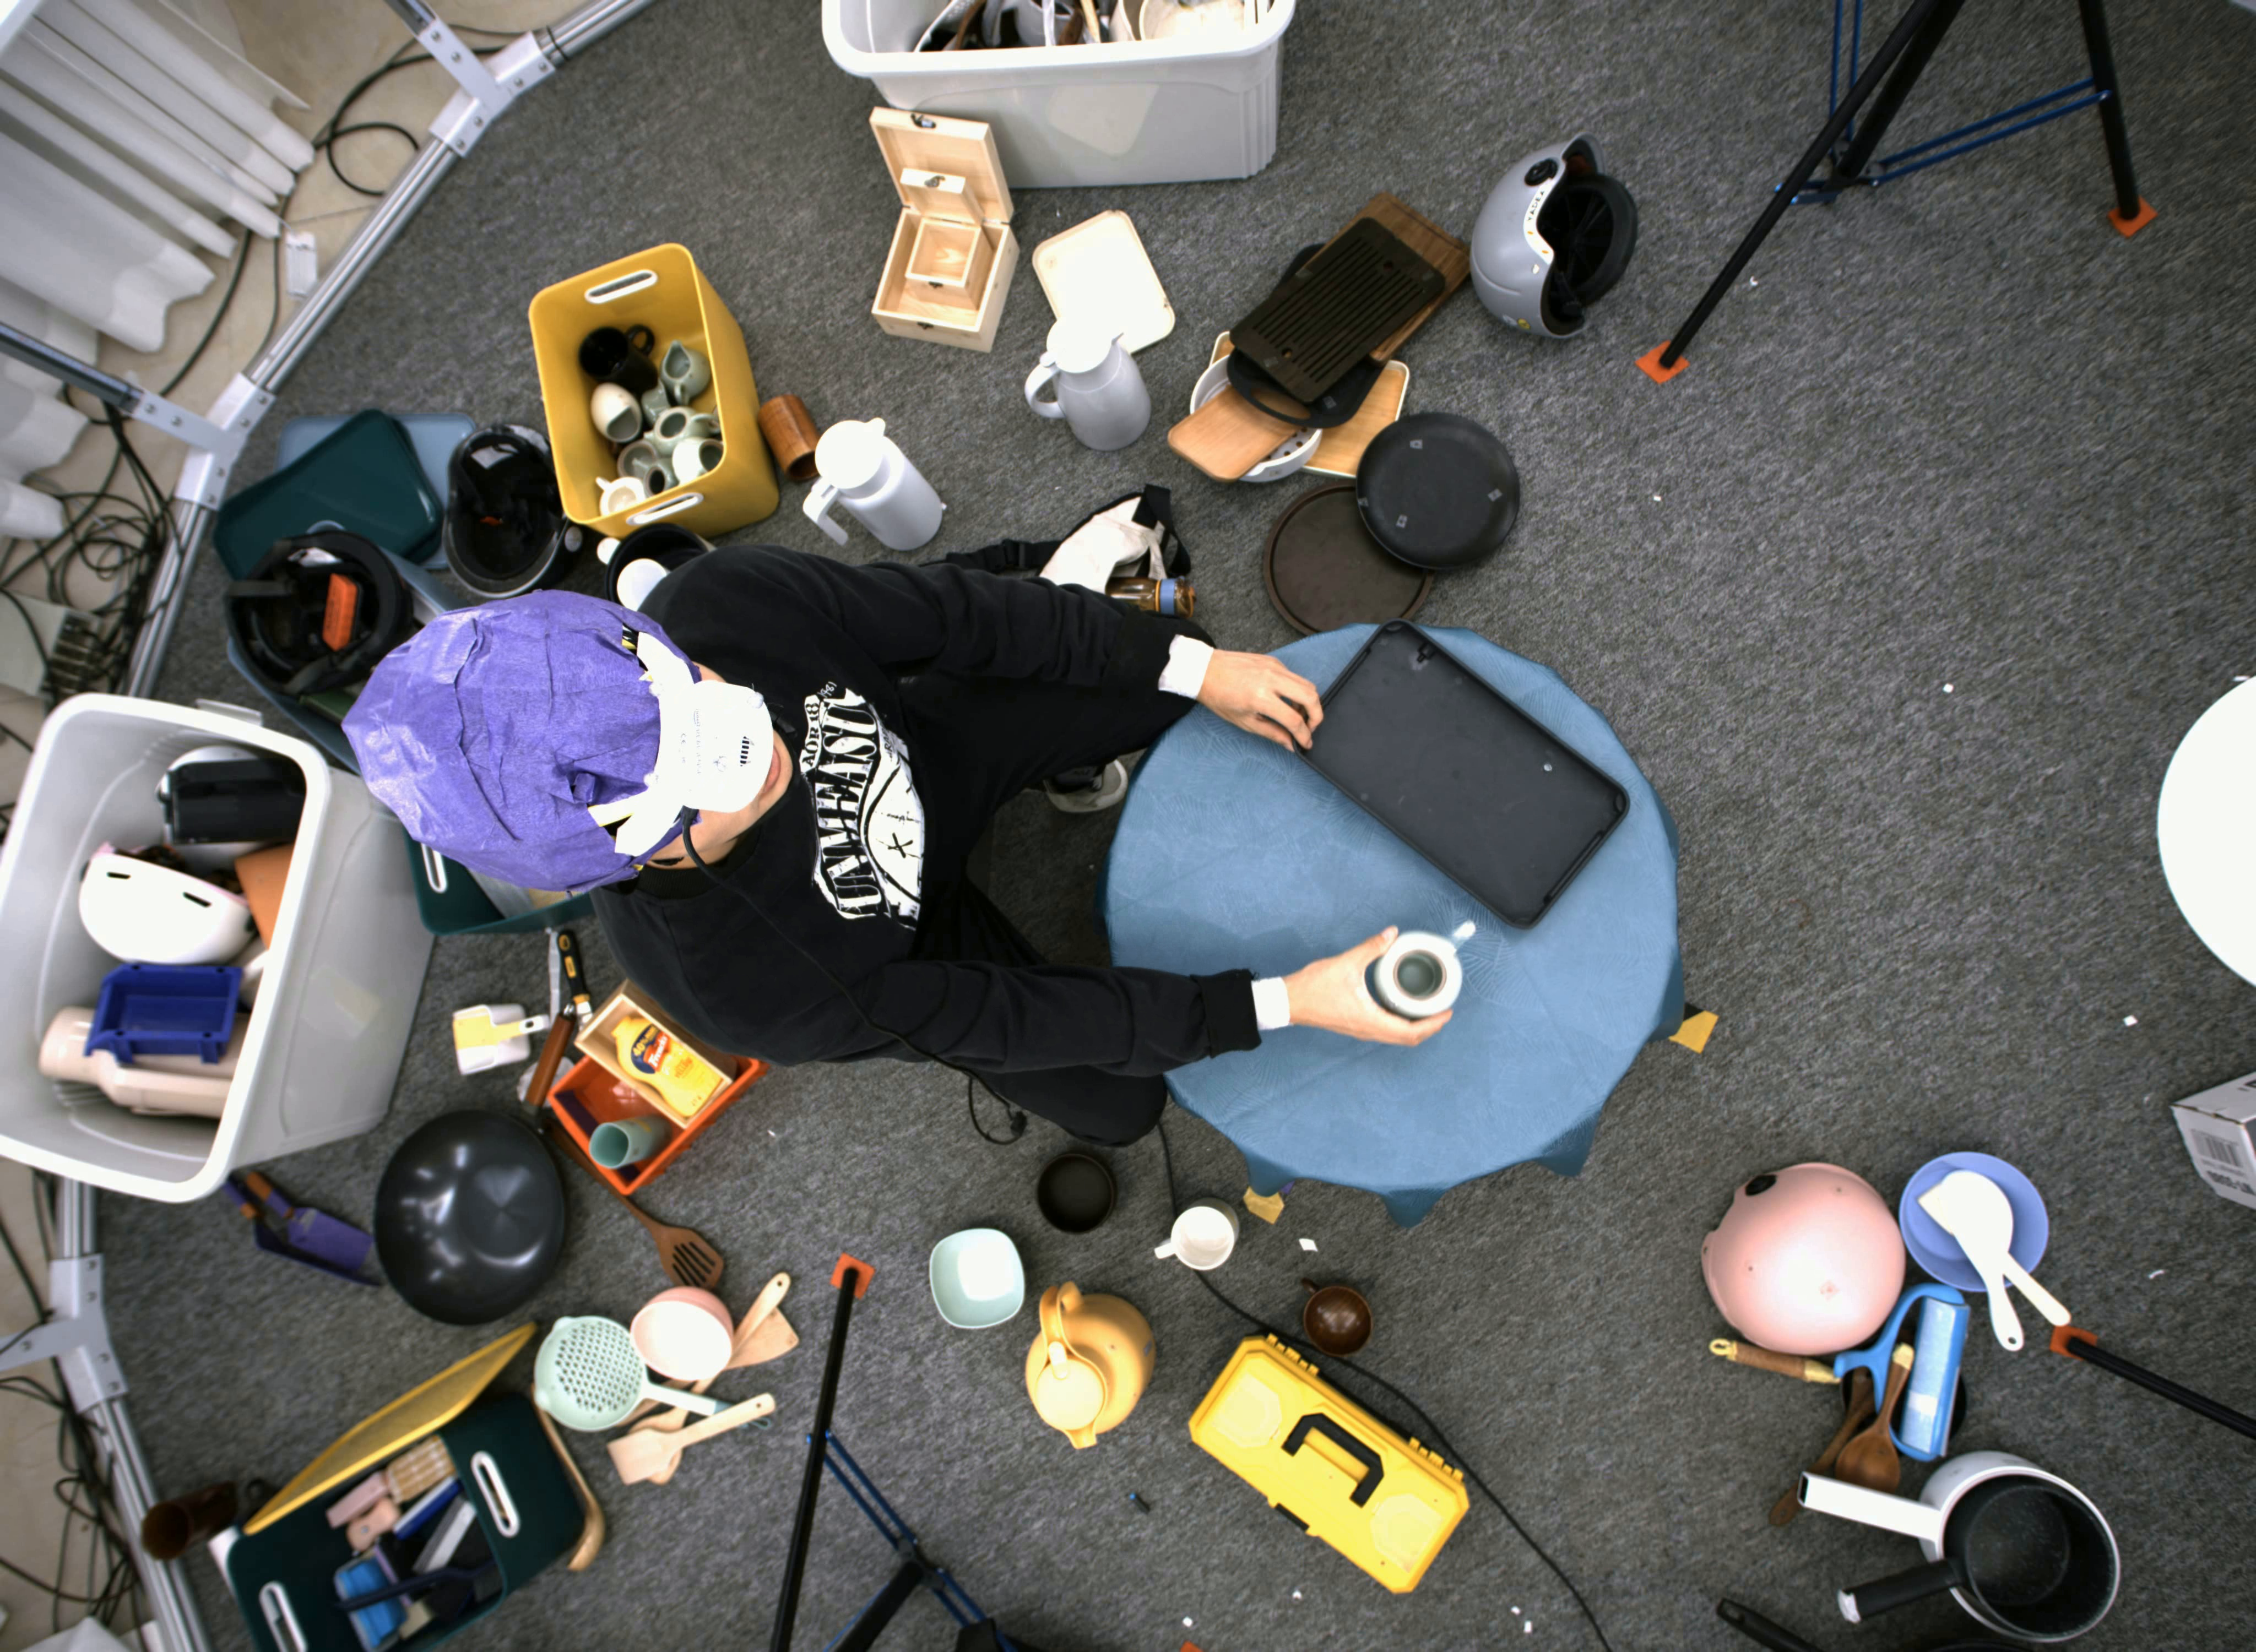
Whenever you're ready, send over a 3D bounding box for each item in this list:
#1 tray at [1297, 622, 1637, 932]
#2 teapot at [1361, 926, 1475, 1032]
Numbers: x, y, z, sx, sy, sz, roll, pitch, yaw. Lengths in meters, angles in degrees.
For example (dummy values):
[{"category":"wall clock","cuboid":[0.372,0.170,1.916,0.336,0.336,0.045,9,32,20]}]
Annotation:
[{"category":"tray","cuboid":[0.348,-0.053,1.426,0.317,0.037,0.185,38,94,7]},{"category":"teapot","cuboid":[0.284,0.150,1.367,0.144,0.075,0.088,-41,82,0]}]
